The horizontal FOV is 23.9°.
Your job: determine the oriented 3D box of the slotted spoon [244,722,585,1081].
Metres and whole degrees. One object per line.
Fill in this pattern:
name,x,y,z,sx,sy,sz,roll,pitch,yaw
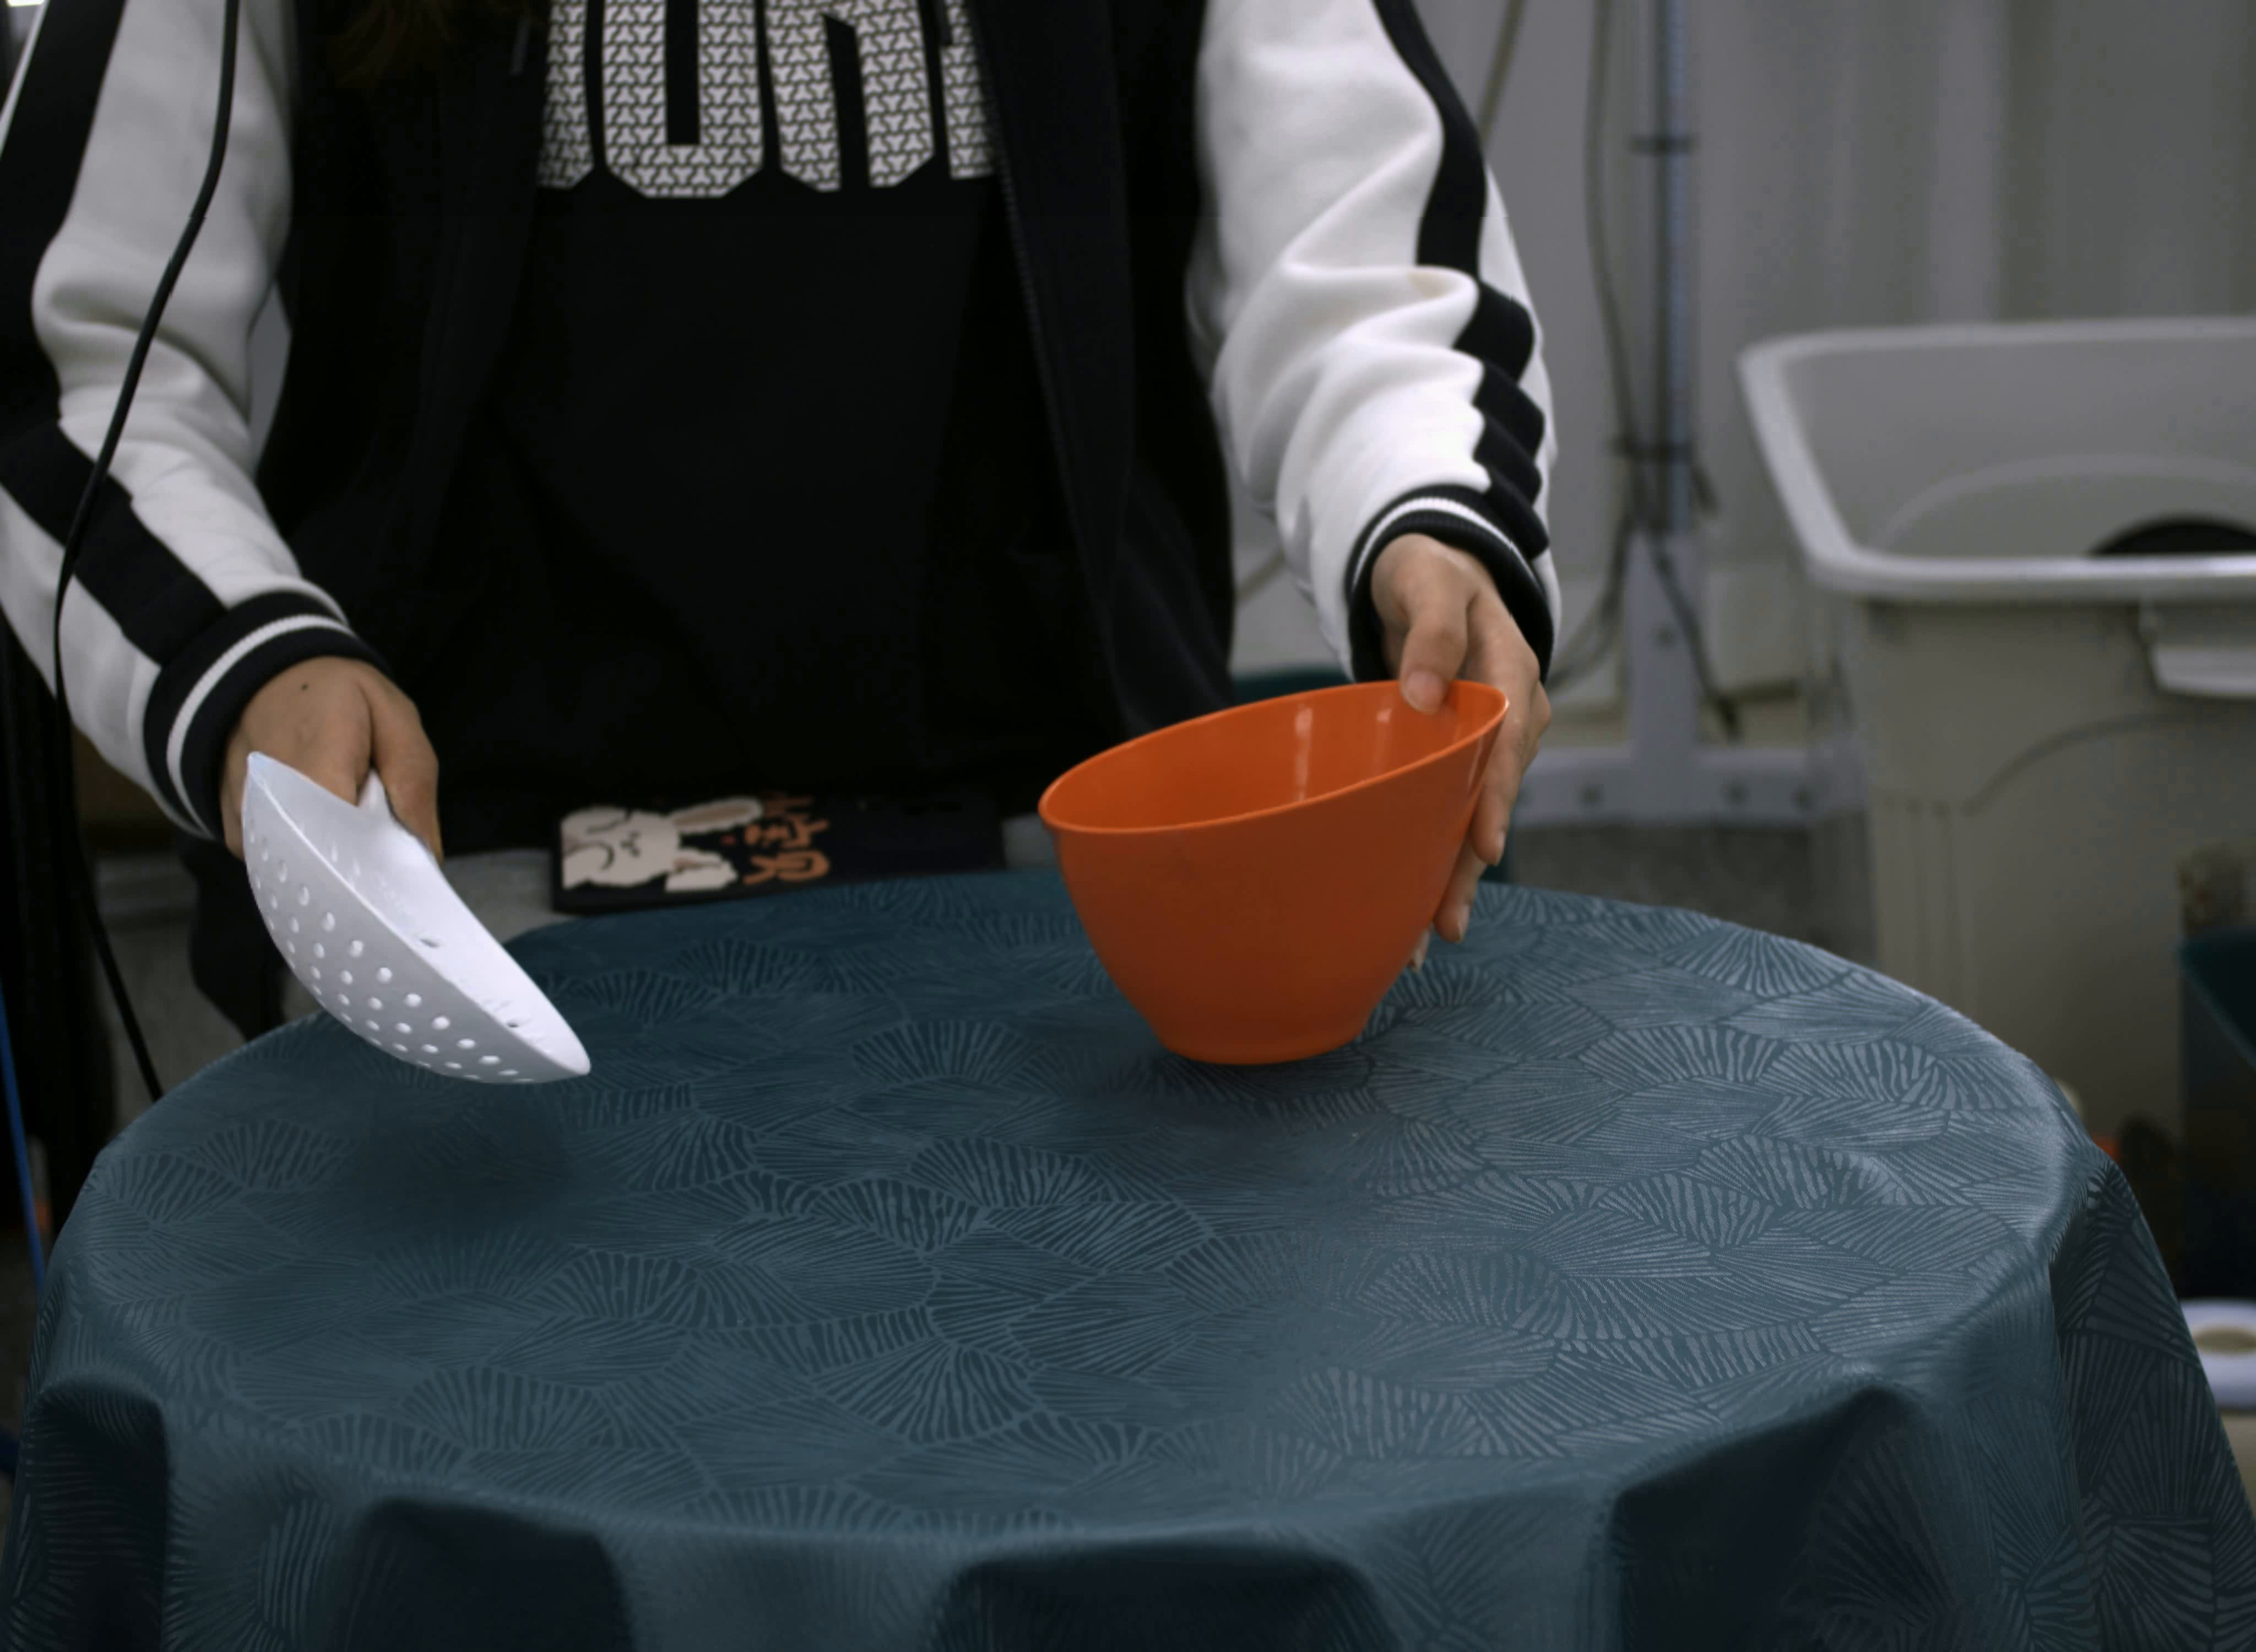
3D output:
slotted spoon,-0.229,0.008,1.677,0.046,0.135,0.352,-44,14,6

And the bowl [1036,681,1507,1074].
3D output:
bowl,0.047,0.018,1.644,0.147,0.104,0.149,-6,18,1
